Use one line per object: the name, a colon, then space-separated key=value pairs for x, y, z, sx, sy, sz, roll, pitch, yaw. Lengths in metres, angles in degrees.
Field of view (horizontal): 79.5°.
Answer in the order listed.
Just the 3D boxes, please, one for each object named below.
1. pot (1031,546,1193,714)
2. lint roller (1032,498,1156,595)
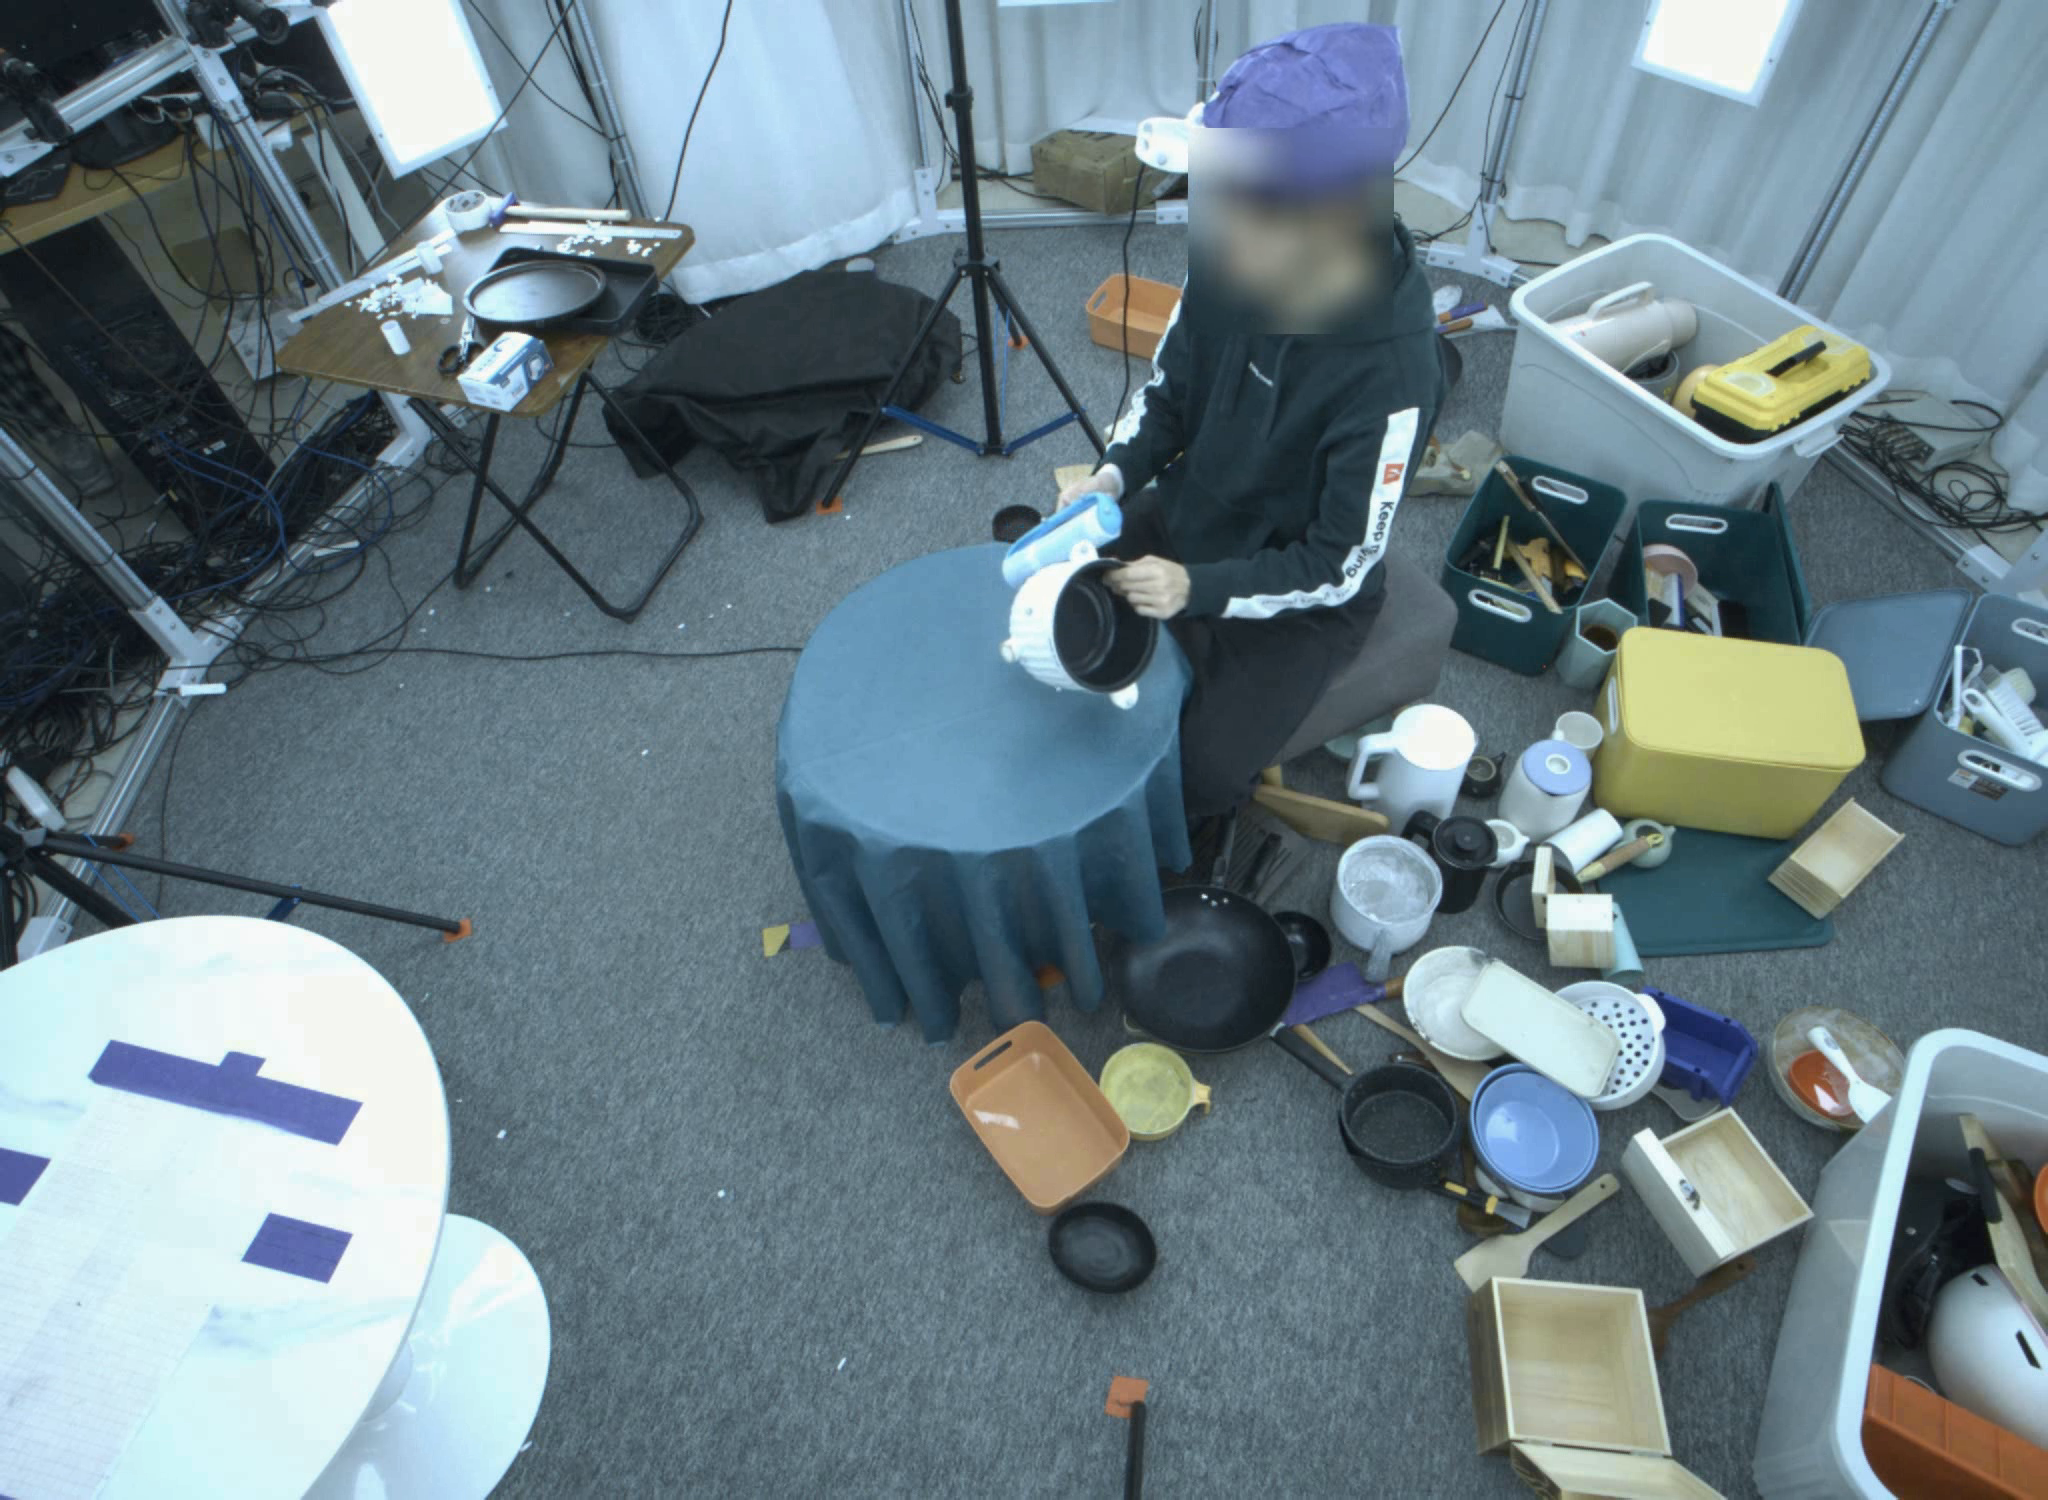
pot: x=0.115 y=-0.161 z=1.695 sx=0.193 sy=0.243 sz=0.139 roll=-31 pitch=22 yaw=-31
lint roller: x=0.118 y=-0.315 z=1.762 sx=0.069 sy=0.225 sz=0.180 roll=49 pitch=45 yaw=-17
